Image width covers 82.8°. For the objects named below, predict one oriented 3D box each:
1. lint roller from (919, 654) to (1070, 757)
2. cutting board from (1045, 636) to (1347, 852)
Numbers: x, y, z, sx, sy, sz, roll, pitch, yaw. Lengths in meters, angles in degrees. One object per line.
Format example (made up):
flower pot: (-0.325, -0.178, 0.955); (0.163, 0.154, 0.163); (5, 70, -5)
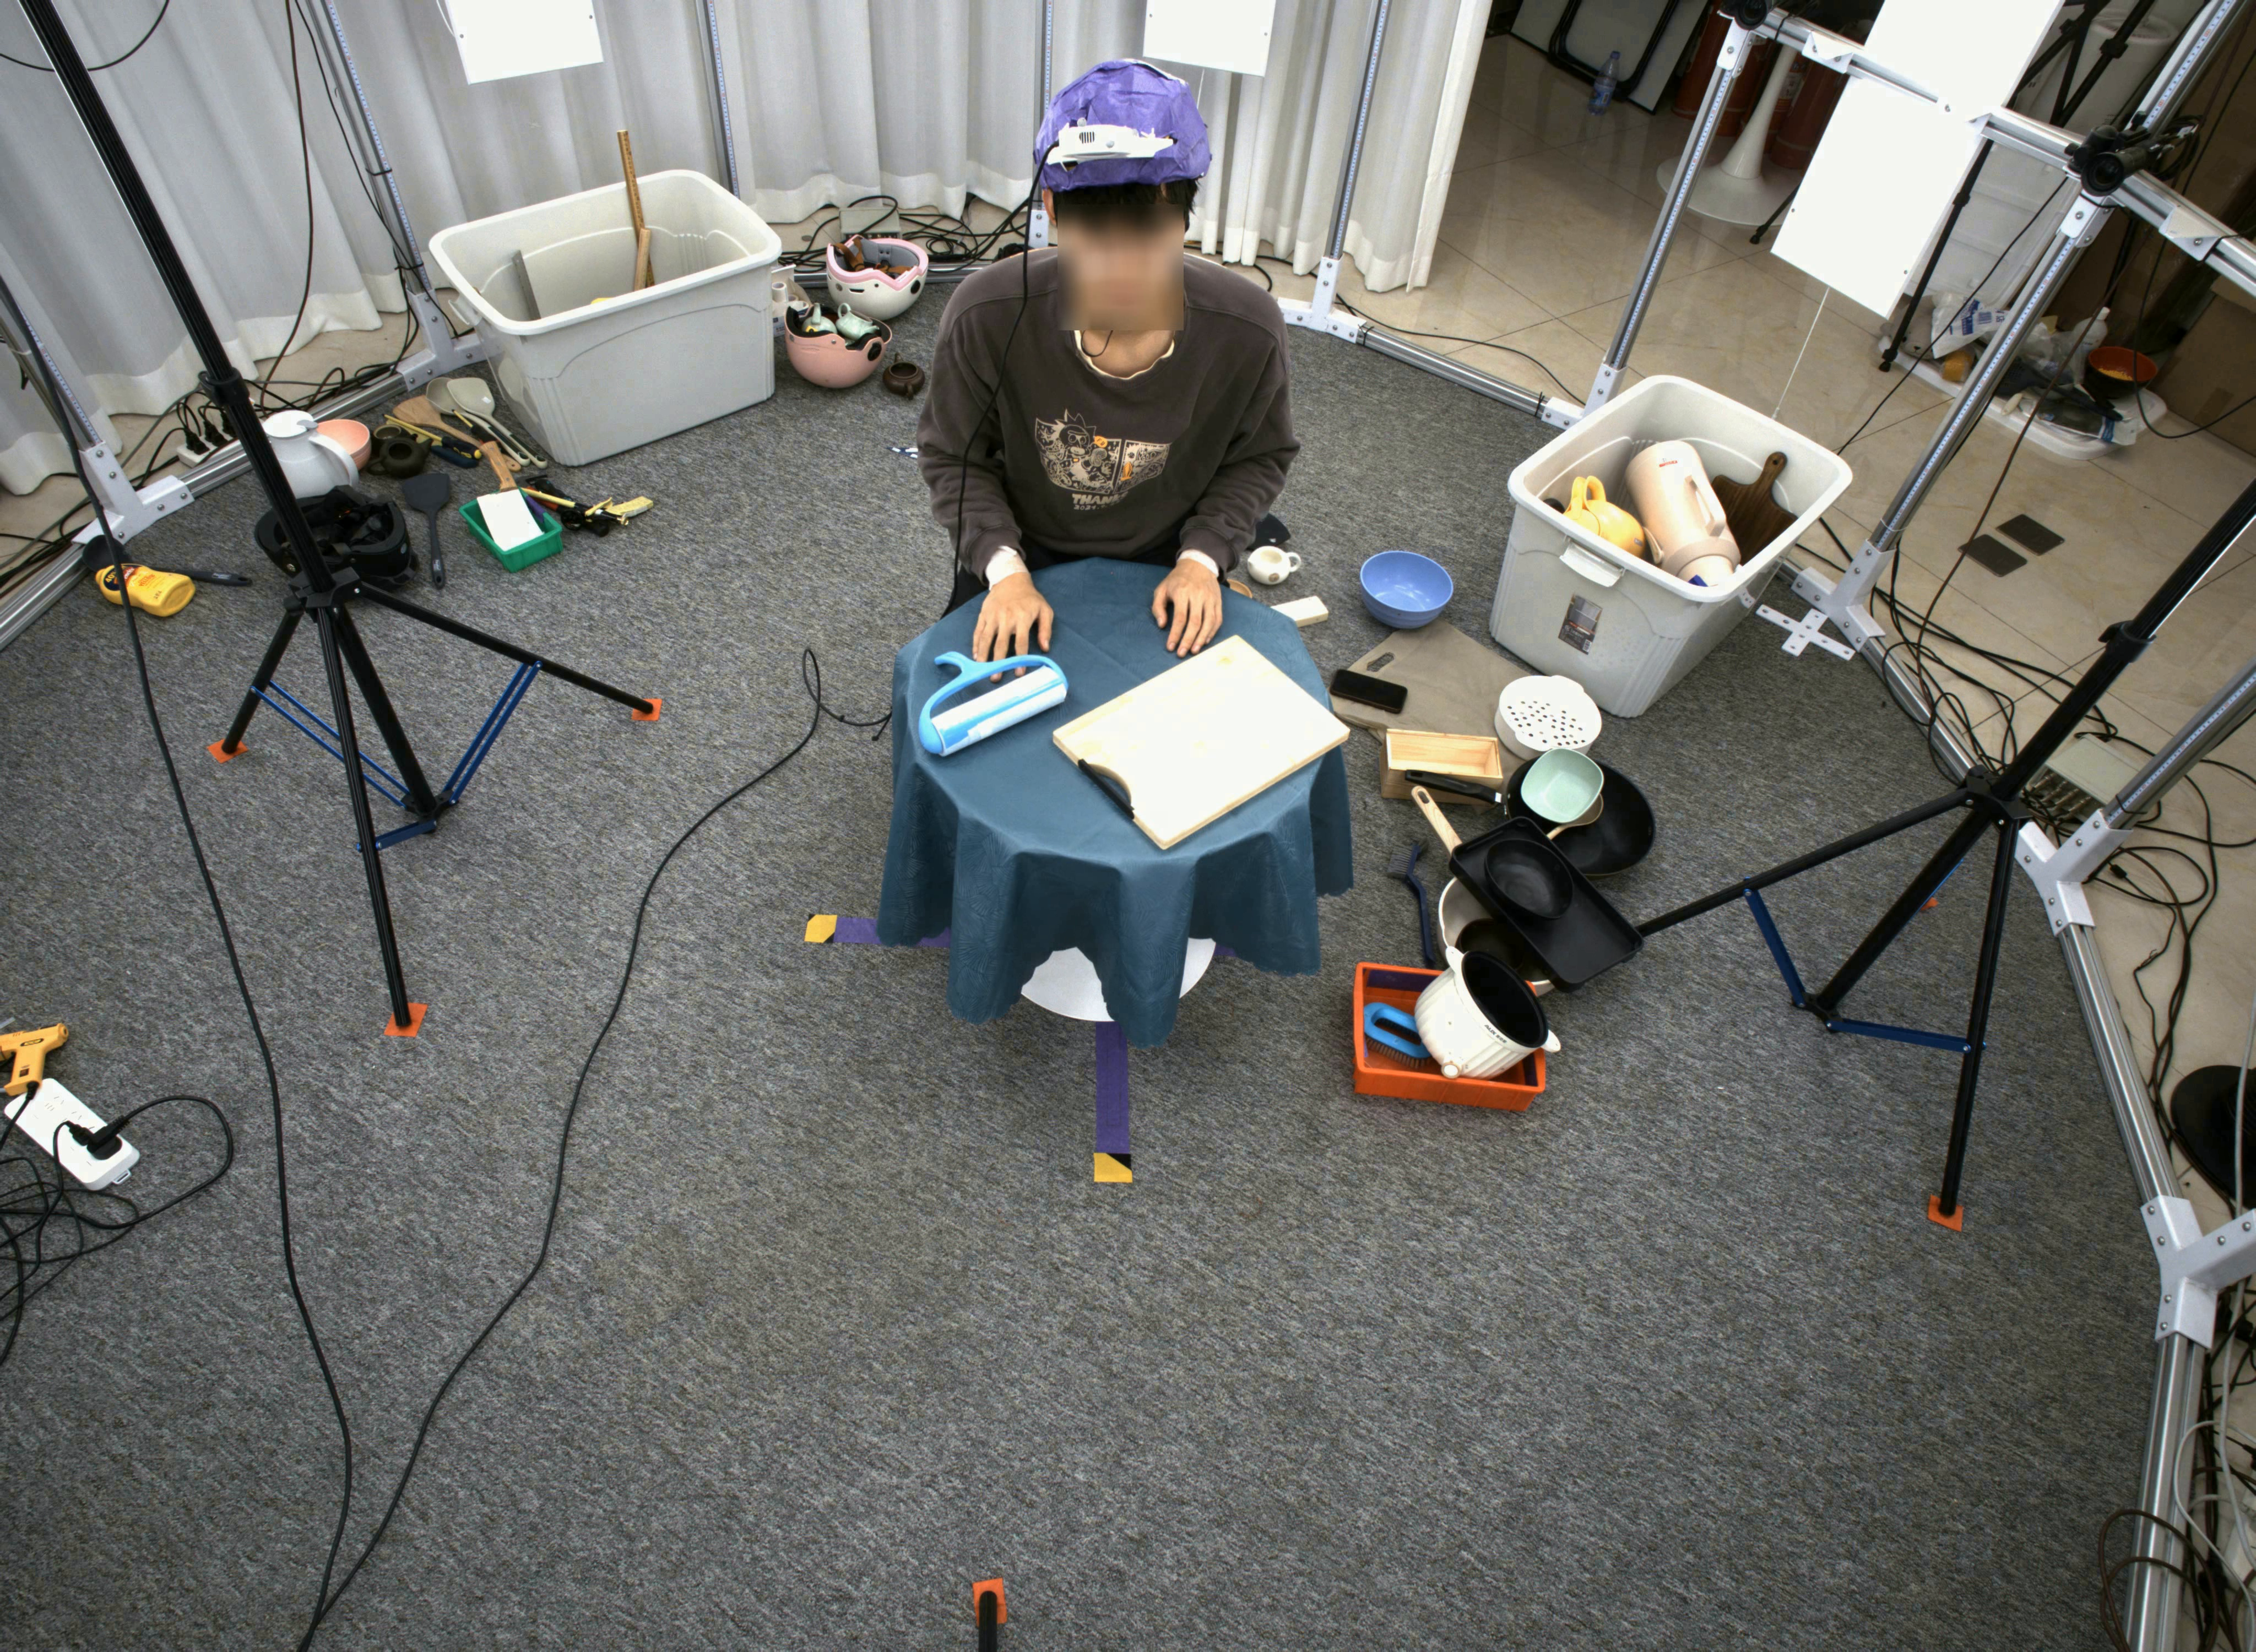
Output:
lint roller: (-0.215, -0.196, 1.786); (0.230, 0.066, 0.183); (-29, 58, -25)
cutting board: (0.097, -0.122, 1.767); (0.351, 0.023, 0.255); (-31, 57, -26)
